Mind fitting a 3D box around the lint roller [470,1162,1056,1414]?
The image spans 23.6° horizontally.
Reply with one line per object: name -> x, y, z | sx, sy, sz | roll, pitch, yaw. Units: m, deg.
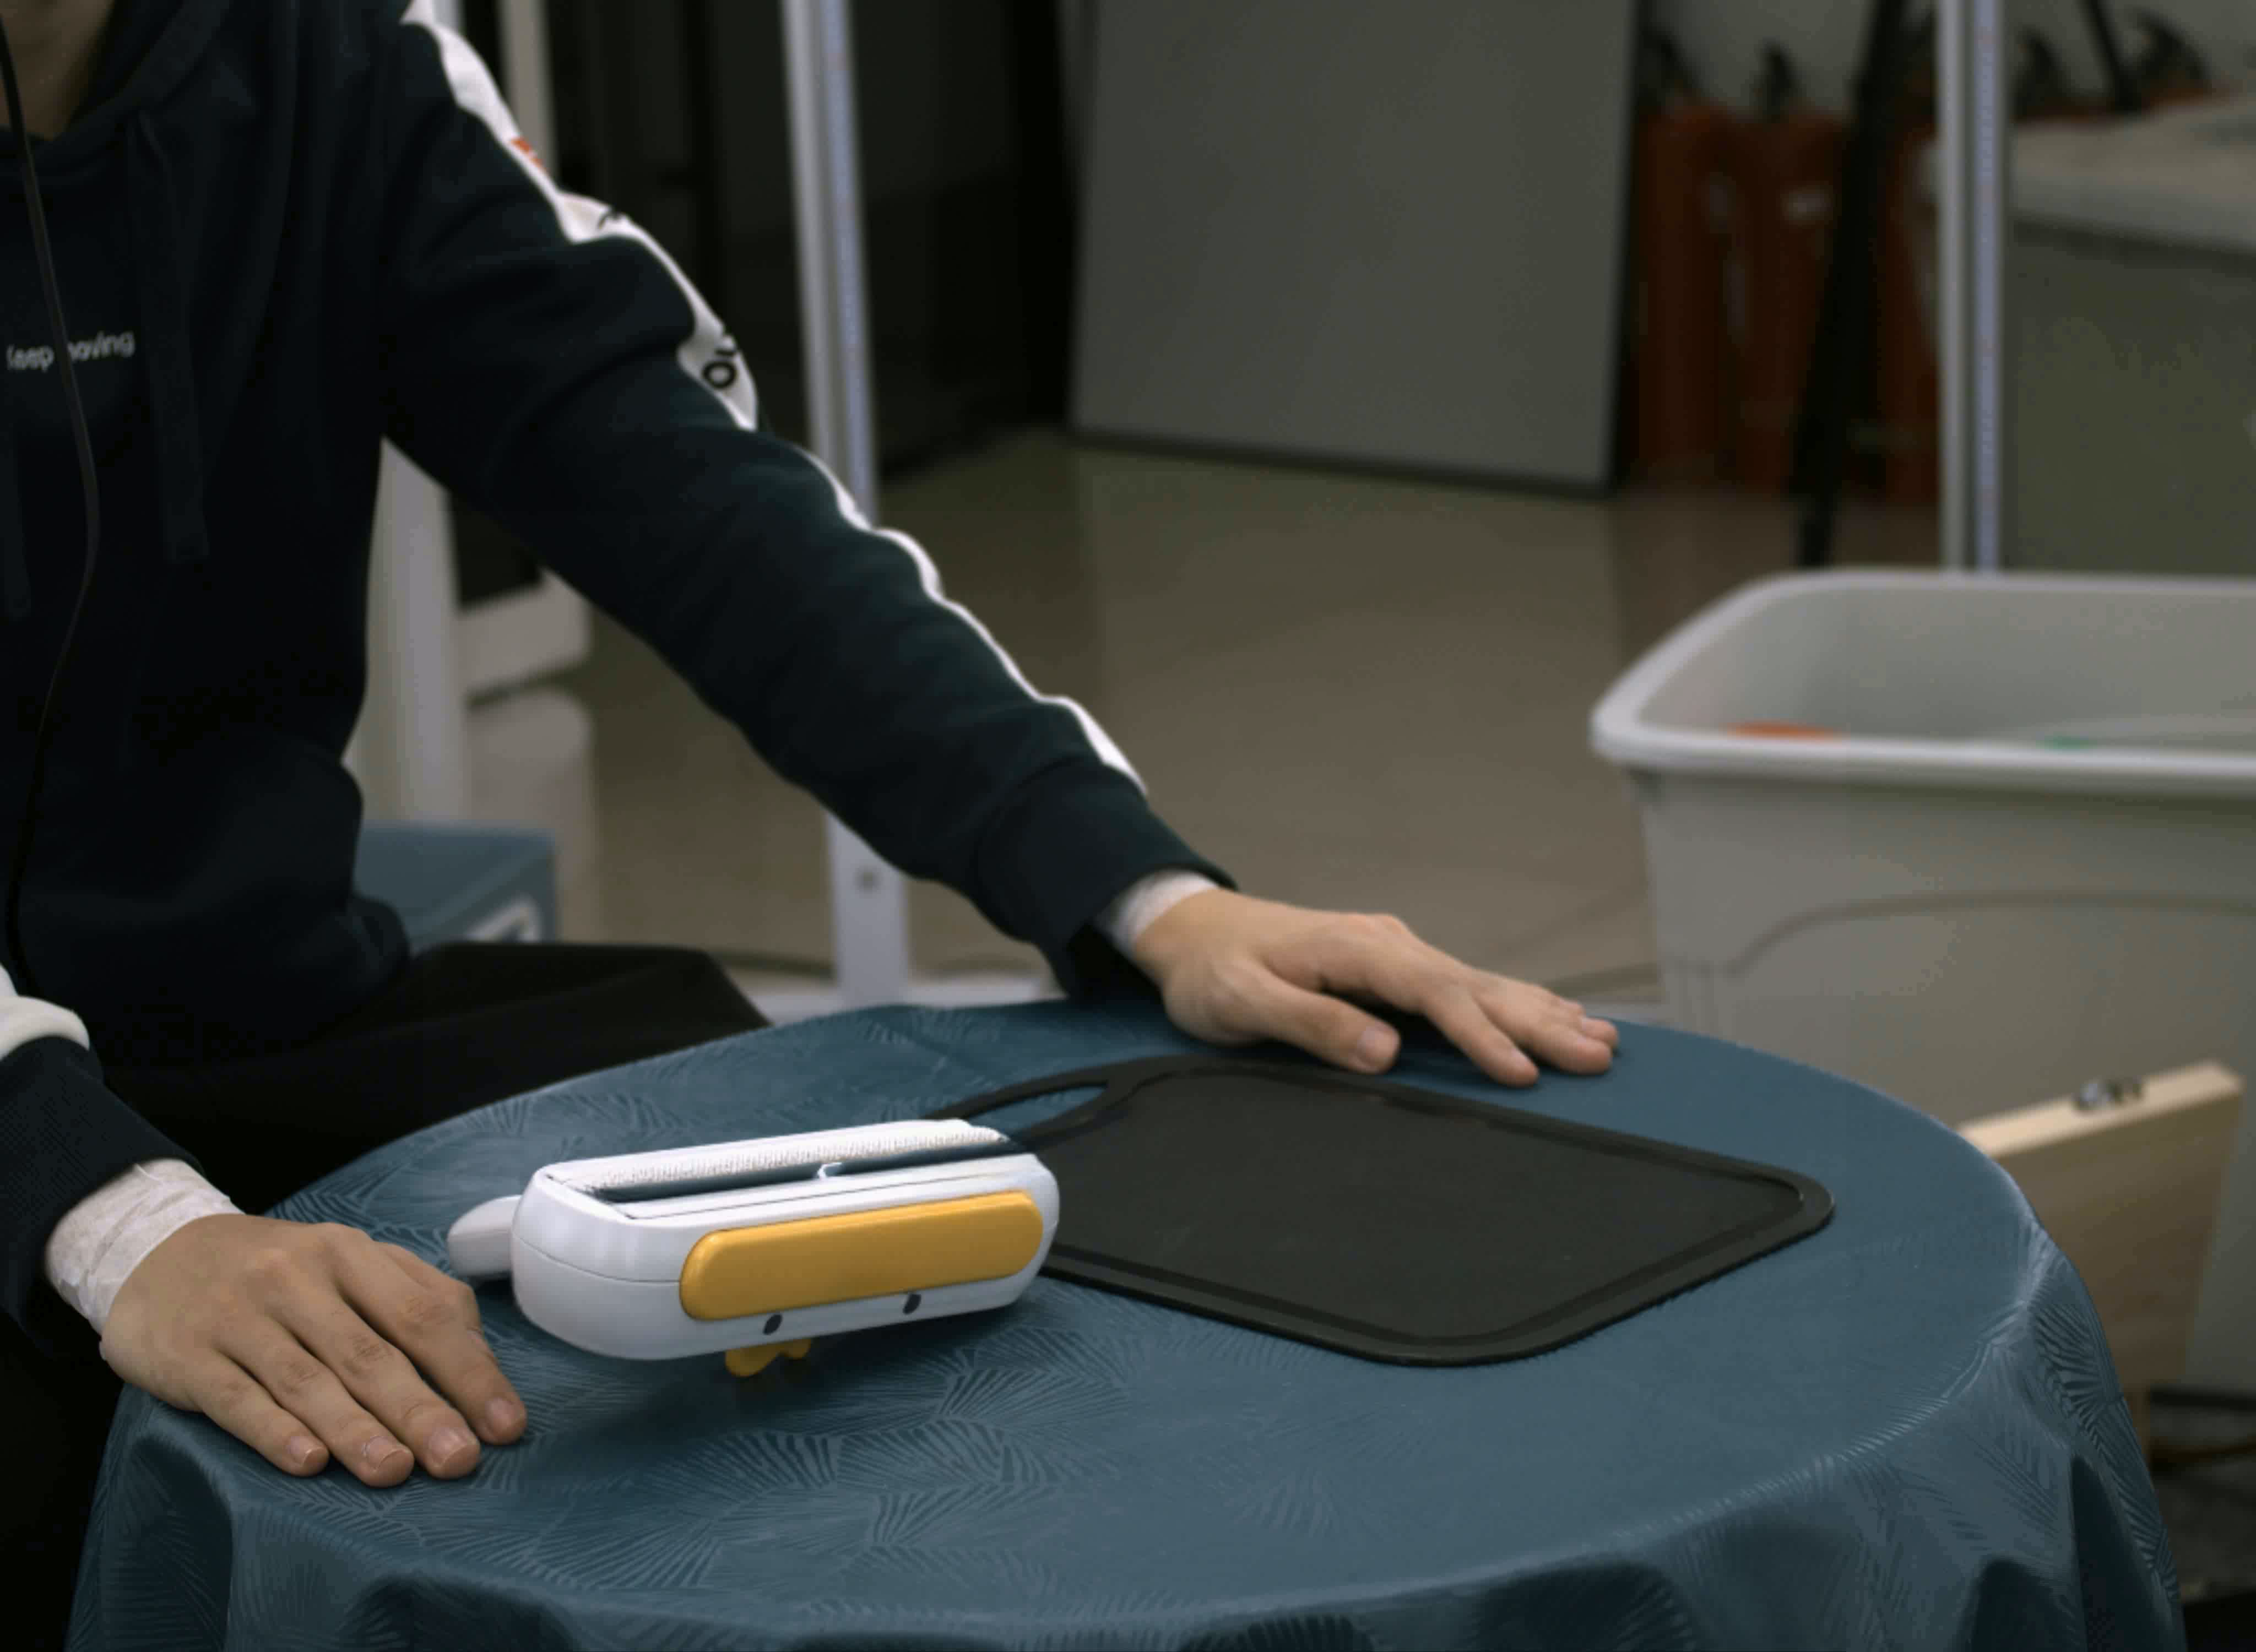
lint roller -> -0.140, 0.143, 1.662 | 0.188, 0.075, 0.194 | -6, -3, -38

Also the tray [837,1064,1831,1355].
tray -> 0.055, 0.119, 1.751 | 0.207, 0.010, 0.328 | -17, 18, -42
